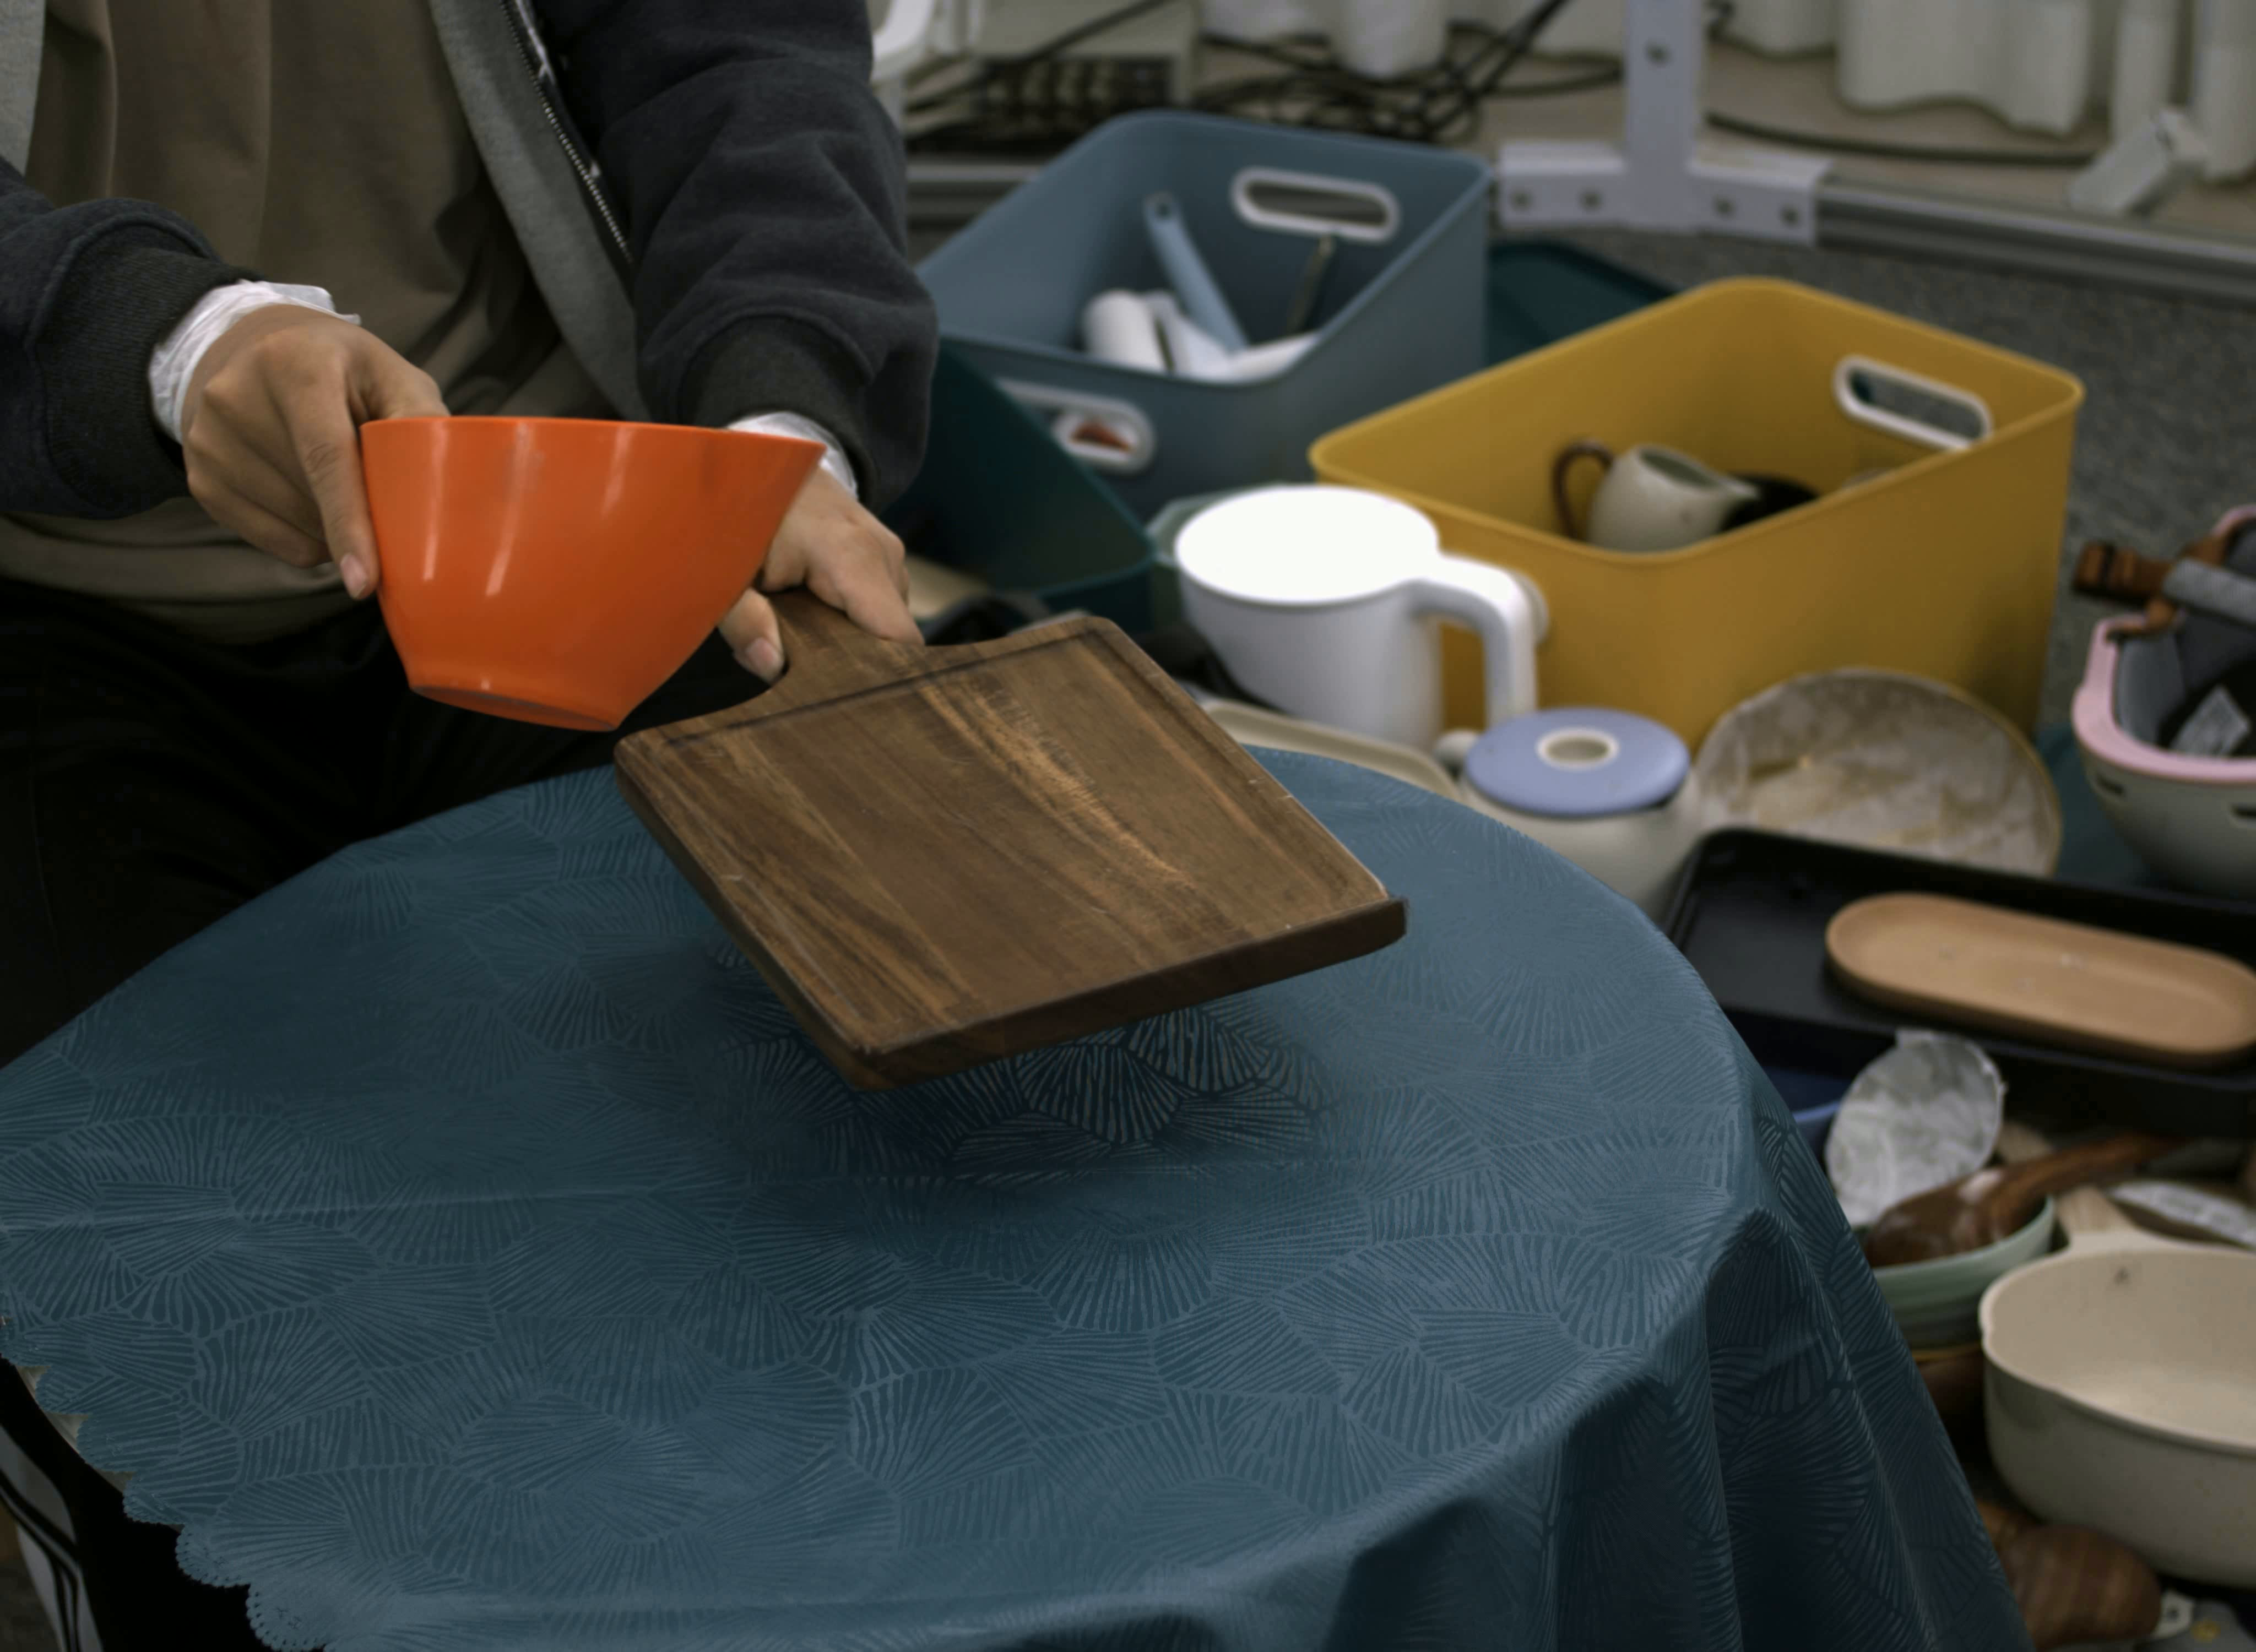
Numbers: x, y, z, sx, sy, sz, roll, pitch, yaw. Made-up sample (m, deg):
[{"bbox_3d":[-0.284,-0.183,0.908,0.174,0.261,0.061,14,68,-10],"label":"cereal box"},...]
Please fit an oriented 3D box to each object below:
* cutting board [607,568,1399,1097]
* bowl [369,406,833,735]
[{"bbox_3d":[-0.067,-0.016,1.975,0.202,0.023,0.354,-15,30,-19],"label":"cutting board"},{"bbox_3d":[-0.176,-0.084,1.799,0.147,0.105,0.147,11,-7,2],"label":"bowl"}]
